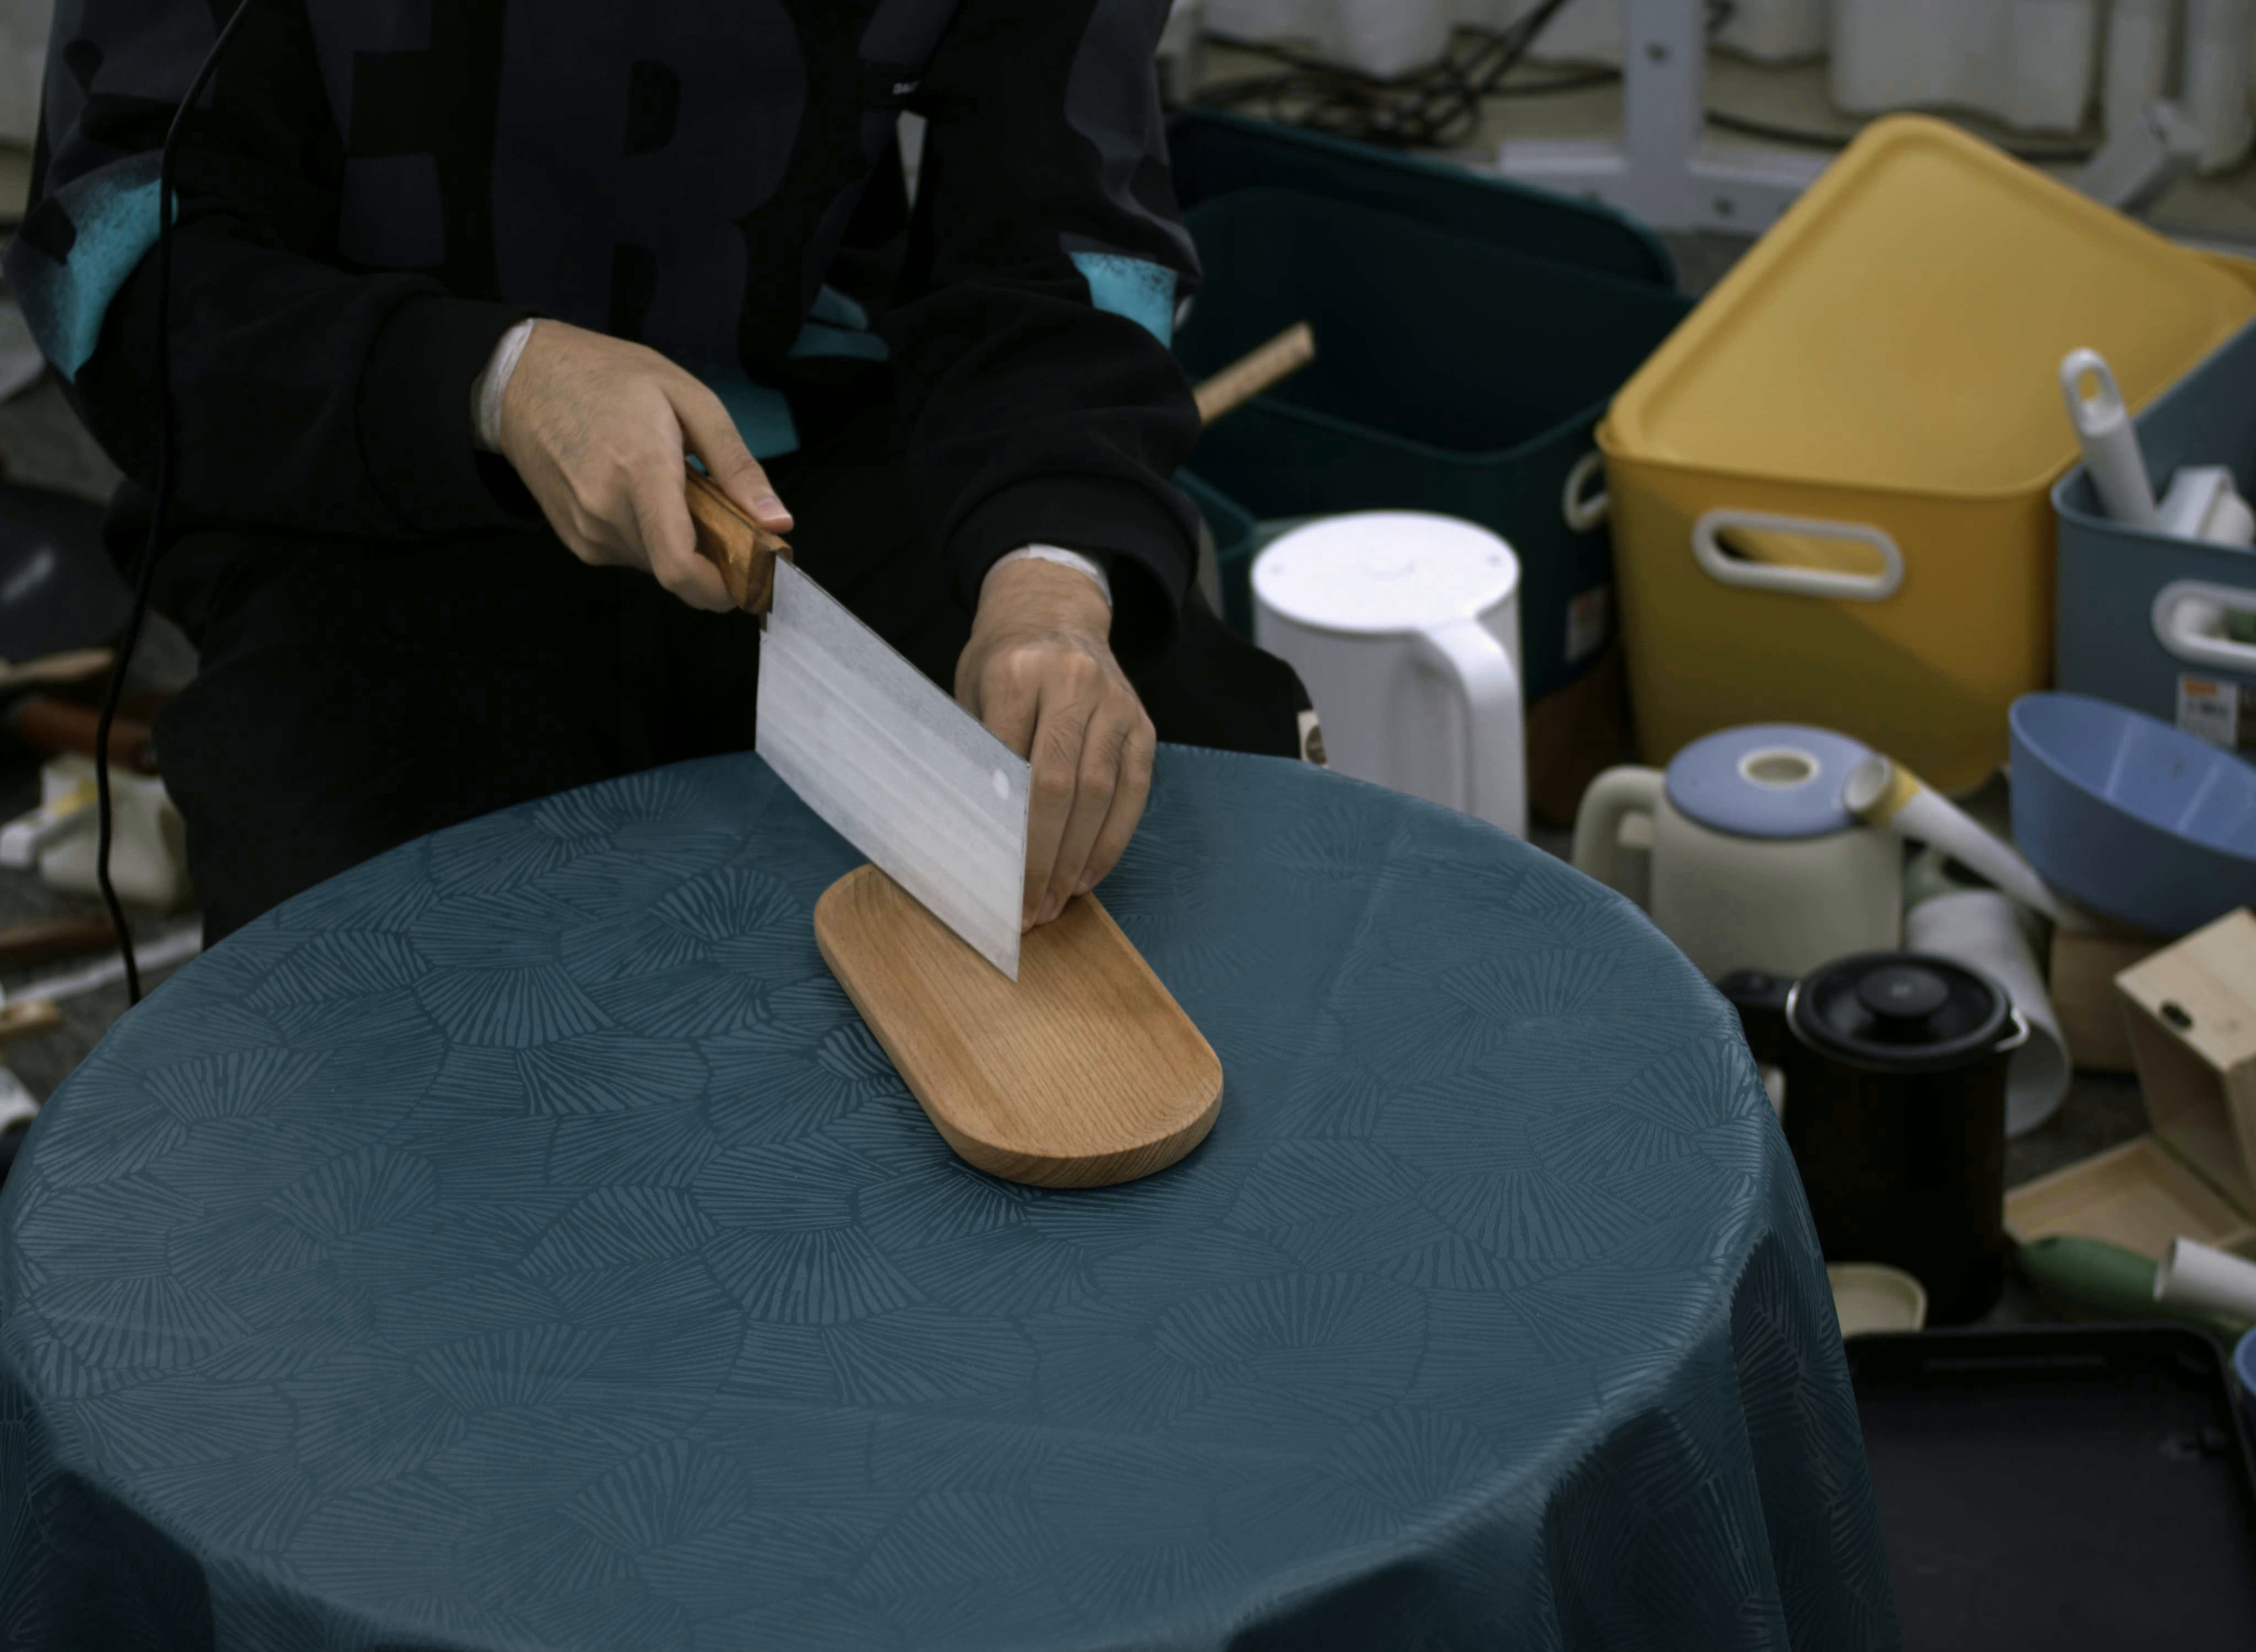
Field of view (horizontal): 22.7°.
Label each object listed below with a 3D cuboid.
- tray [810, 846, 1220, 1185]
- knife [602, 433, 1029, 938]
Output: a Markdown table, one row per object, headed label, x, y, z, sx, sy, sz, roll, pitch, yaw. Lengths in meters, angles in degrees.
| label | x | y | z | sx | sy | sz | roll | pitch | yaw |
| --- | --- | --- | --- | --- | --- | --- | --- | --- | --- |
| tray | -0.041 | 0.063 | 1.960 | 0.102 | 0.020 | 0.233 | -10 | 27 | -17 |
| knife | -0.116 | -0.050 | 2.057 | 0.021 | 0.092 | 0.307 | -13 | 33 | -30 |
